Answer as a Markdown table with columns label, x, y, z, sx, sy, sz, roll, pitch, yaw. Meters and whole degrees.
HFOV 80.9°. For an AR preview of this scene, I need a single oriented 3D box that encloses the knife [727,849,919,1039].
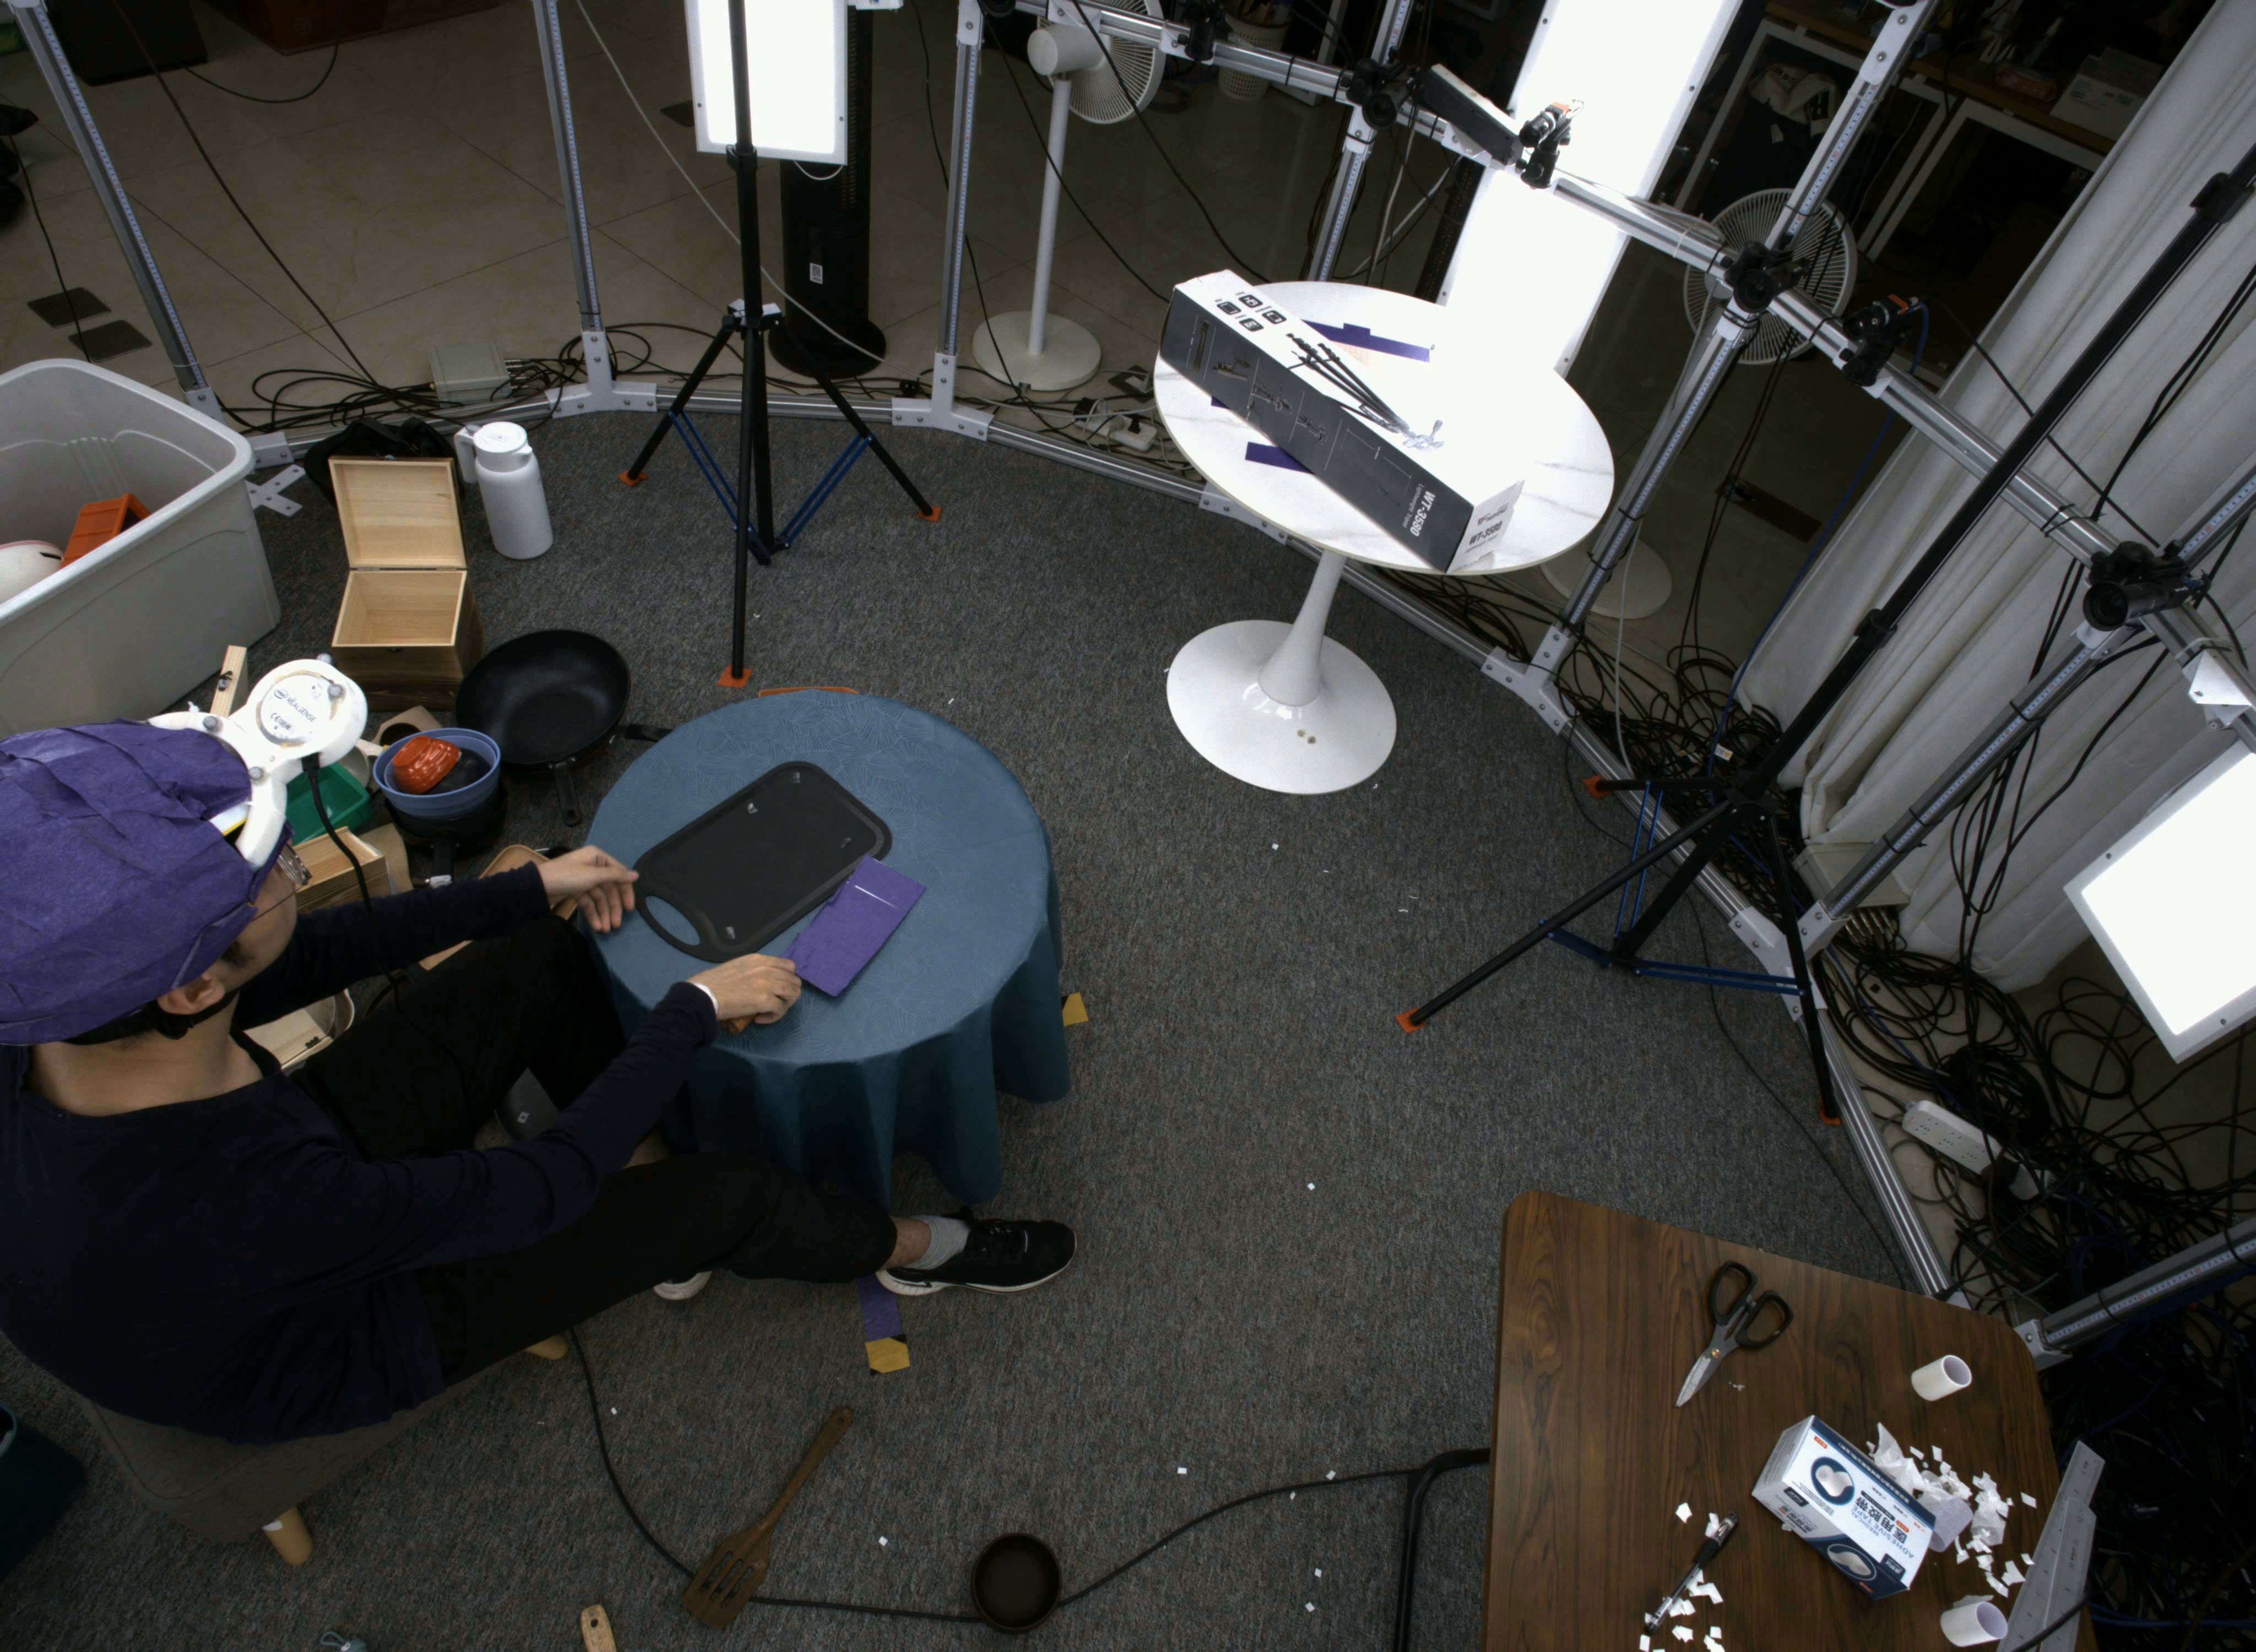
| label | x | y | z | sx | sy | sz | roll | pitch | yaw |
| --- | --- | --- | --- | --- | --- | --- | --- | --- | --- |
| knife | -0.370 | 0.150 | 1.616 | 0.102 | 0.033 | 0.313 | 28 | 51 | 6 |

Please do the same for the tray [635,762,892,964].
| label | x | y | z | sx | sy | sz | roll | pitch | yaw |
| --- | --- | --- | --- | --- | --- | --- | --- | --- | --- |
| tray | -0.477 | 0.043 | 1.685 | 0.206 | 0.010 | 0.326 | 39 | 55 | 15 |
